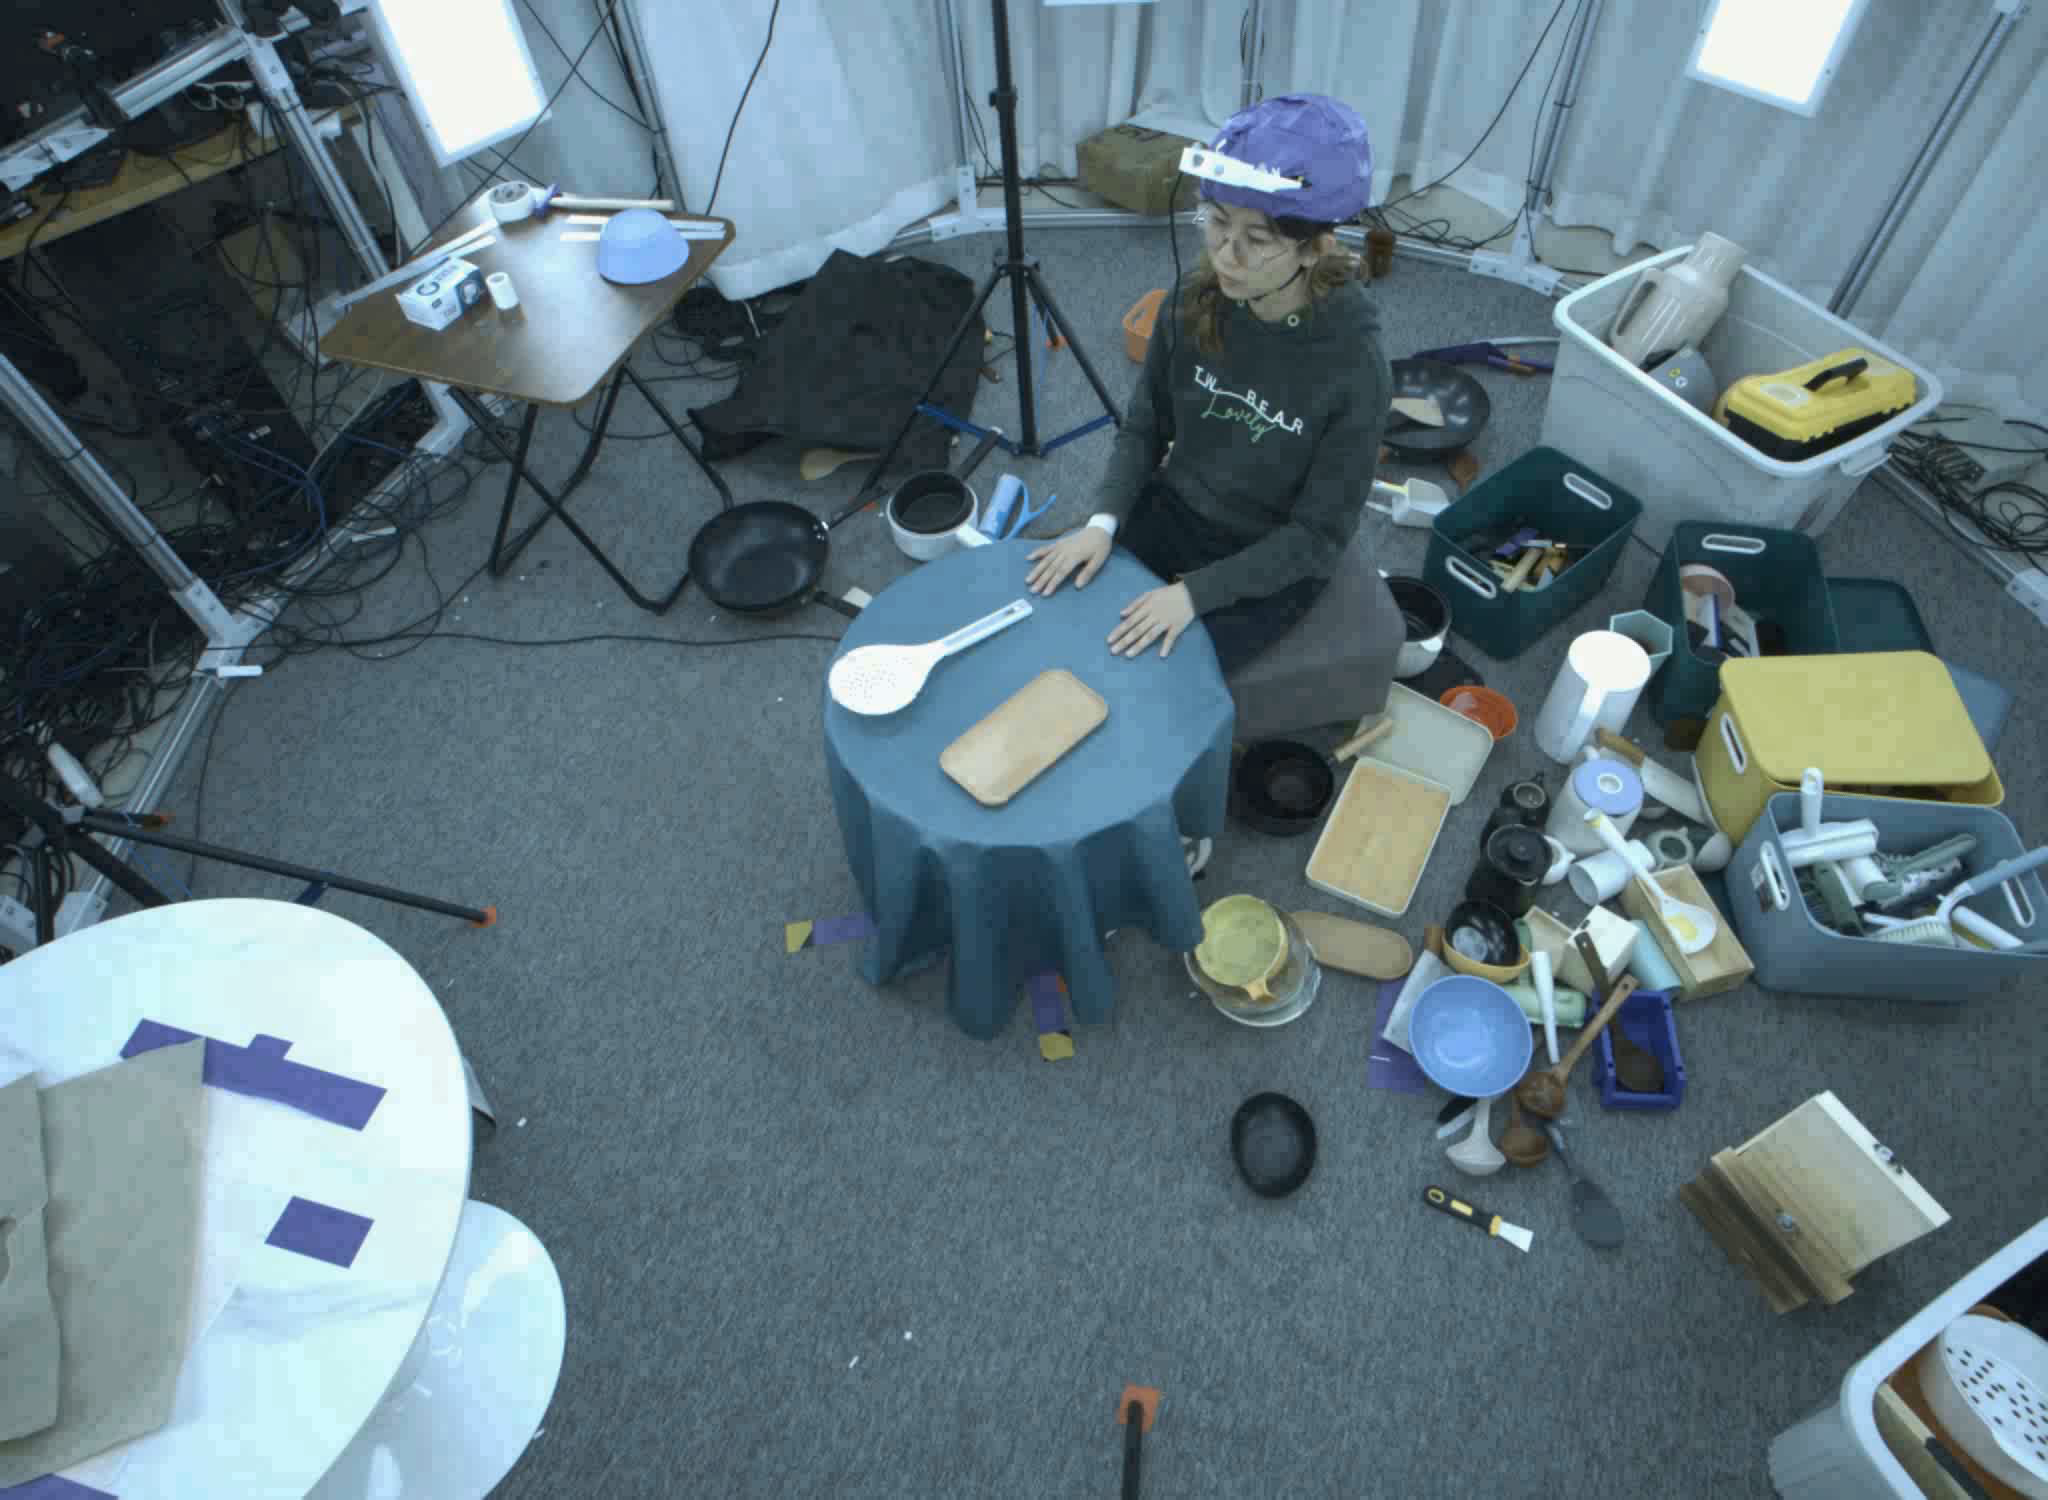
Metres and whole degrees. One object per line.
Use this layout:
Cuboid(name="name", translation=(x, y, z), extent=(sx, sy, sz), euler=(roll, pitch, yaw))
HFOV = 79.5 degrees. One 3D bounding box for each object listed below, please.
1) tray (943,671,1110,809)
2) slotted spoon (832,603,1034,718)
Cuboid(name="tray", translation=(0.005, -0.017, 1.799), extent=(0.252, 0.023, 0.128), euler=(-38, 64, -23))
Cuboid(name="slotted spoon", translation=(-0.133, -0.146, 1.877), extent=(0.352, 0.046, 0.133), euler=(-32, 62, -20))
